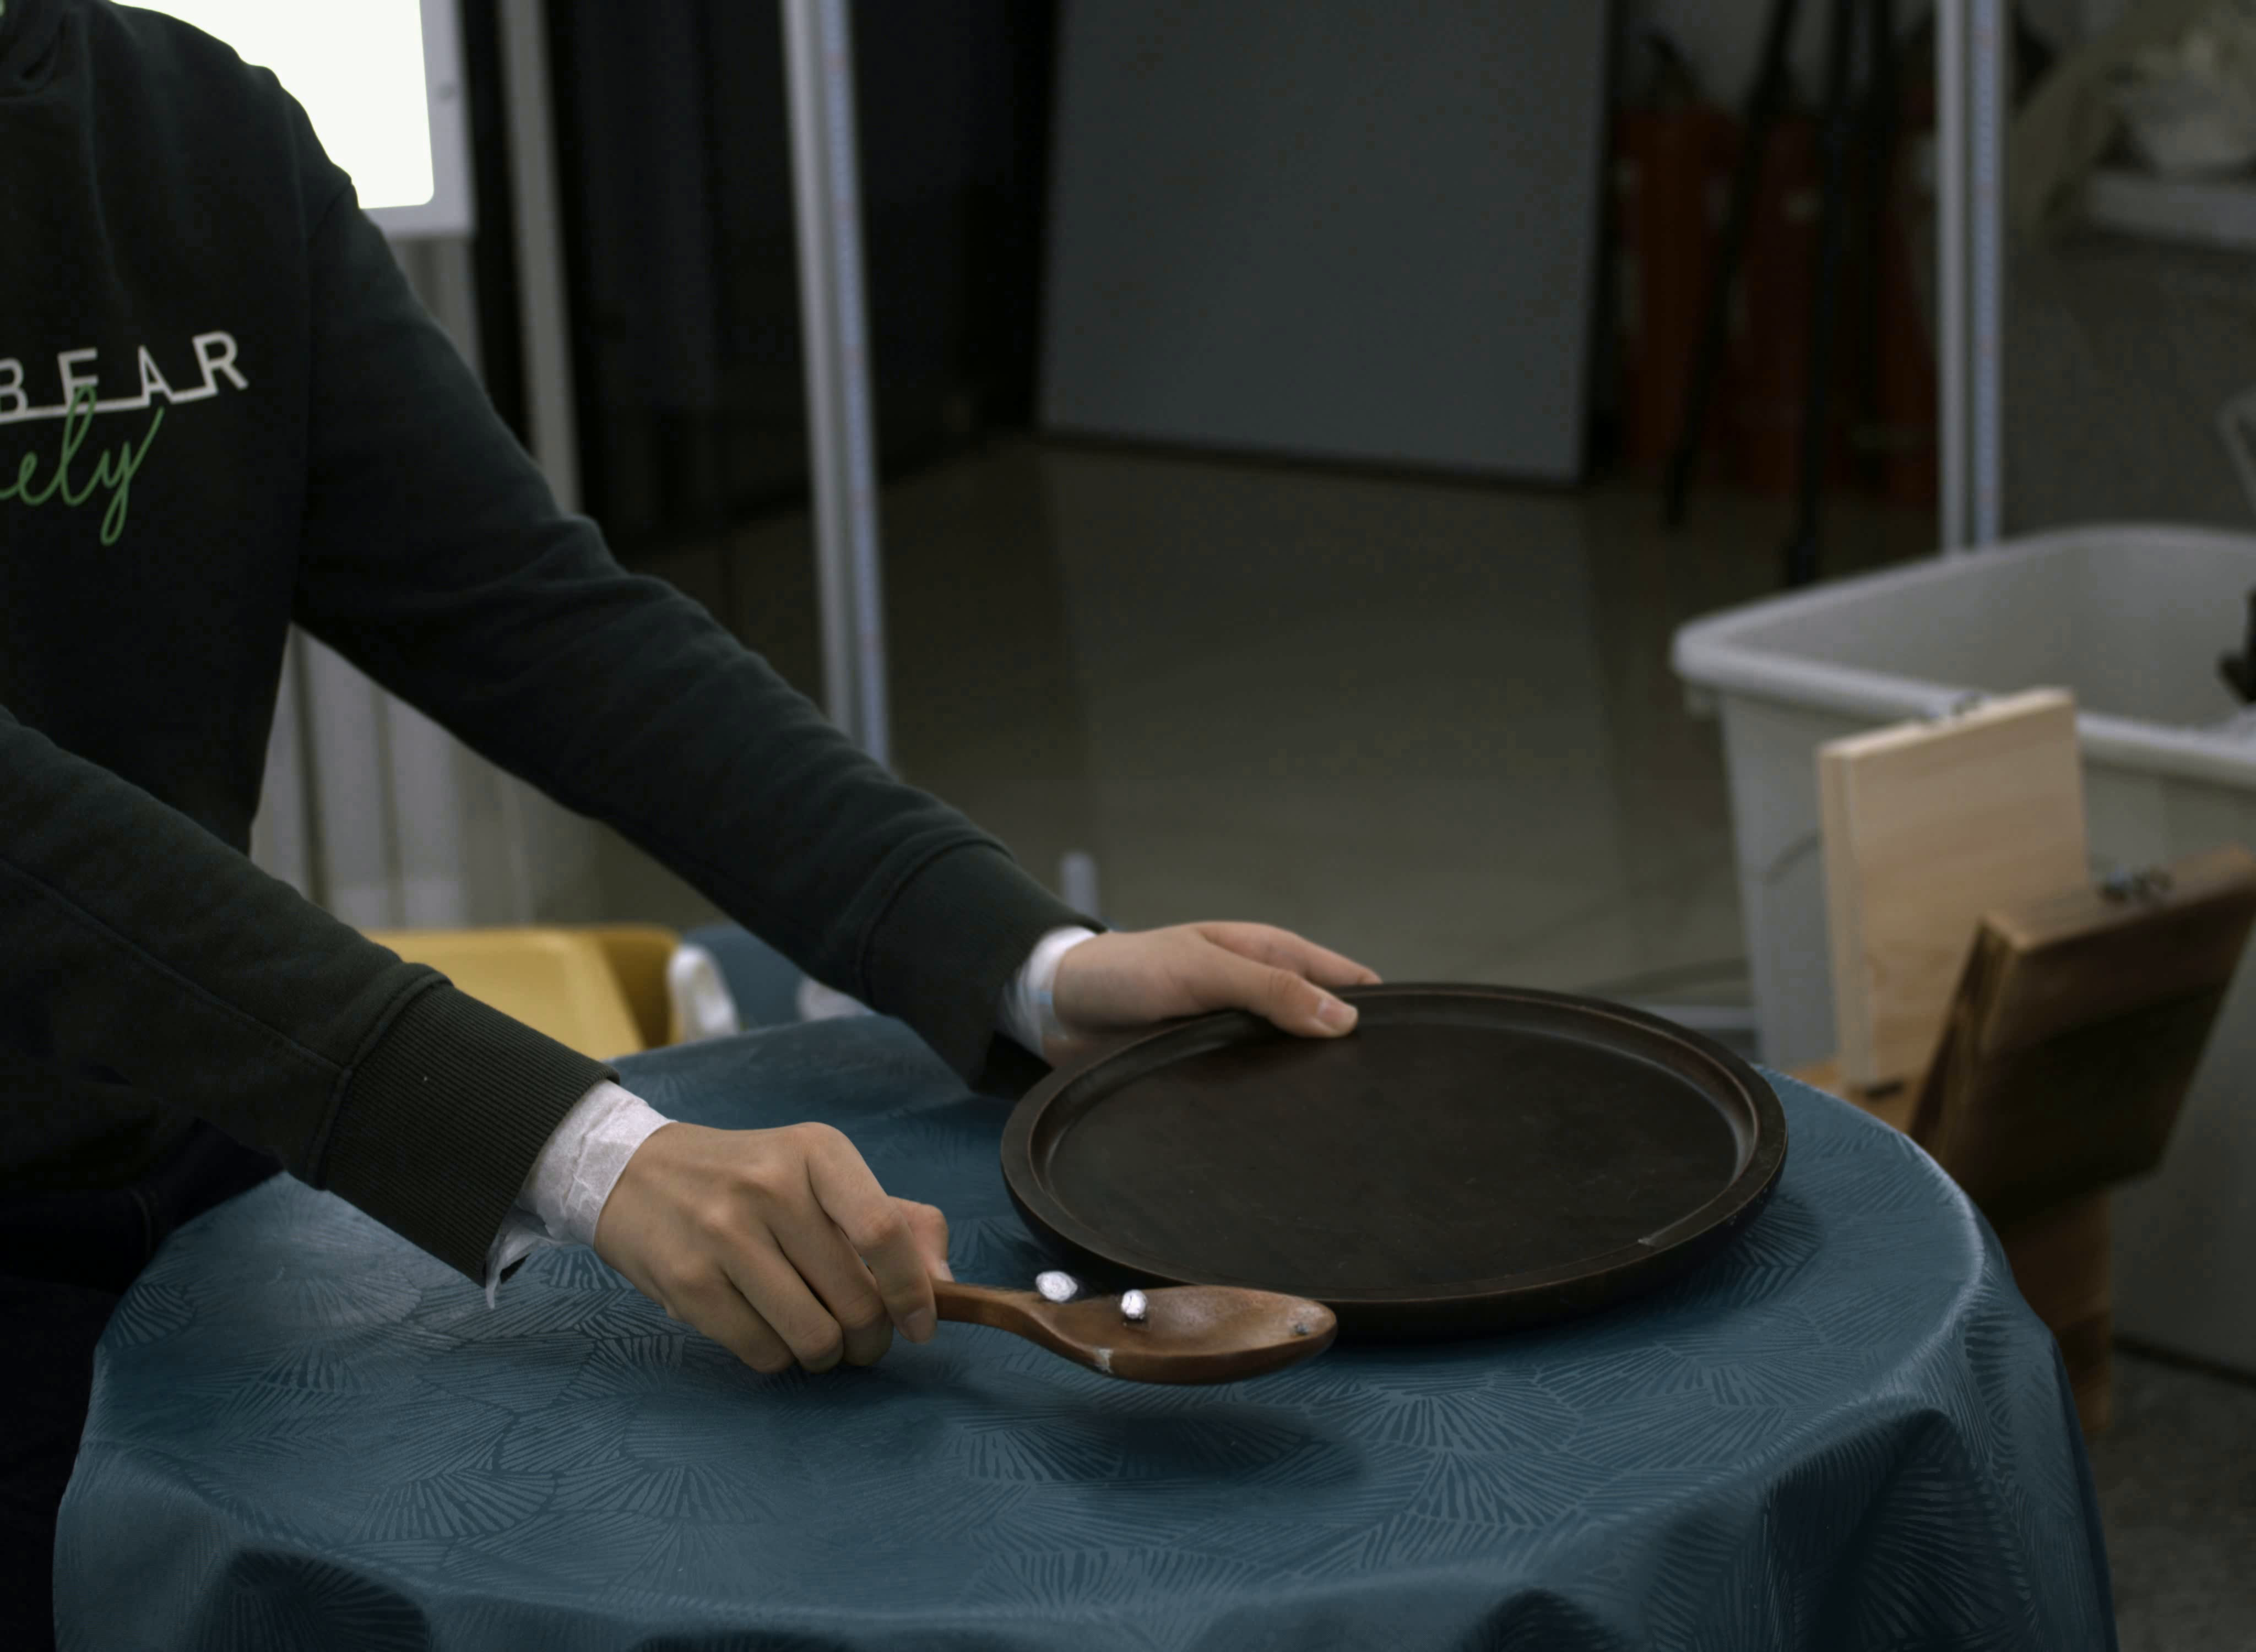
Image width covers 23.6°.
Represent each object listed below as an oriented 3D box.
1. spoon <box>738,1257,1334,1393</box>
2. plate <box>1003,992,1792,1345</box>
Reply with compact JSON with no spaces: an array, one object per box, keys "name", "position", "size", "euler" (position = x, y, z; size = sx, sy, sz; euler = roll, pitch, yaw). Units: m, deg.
[{"name":"spoon","position":[-0.032,0.145,1.580],"size":[0.217,0.017,0.074],"euler":[4,13,40]},{"name":"plate","position":[0.085,0.106,1.710],"size":[0.251,0.029,0.255],"euler":[-3,20,0]}]
